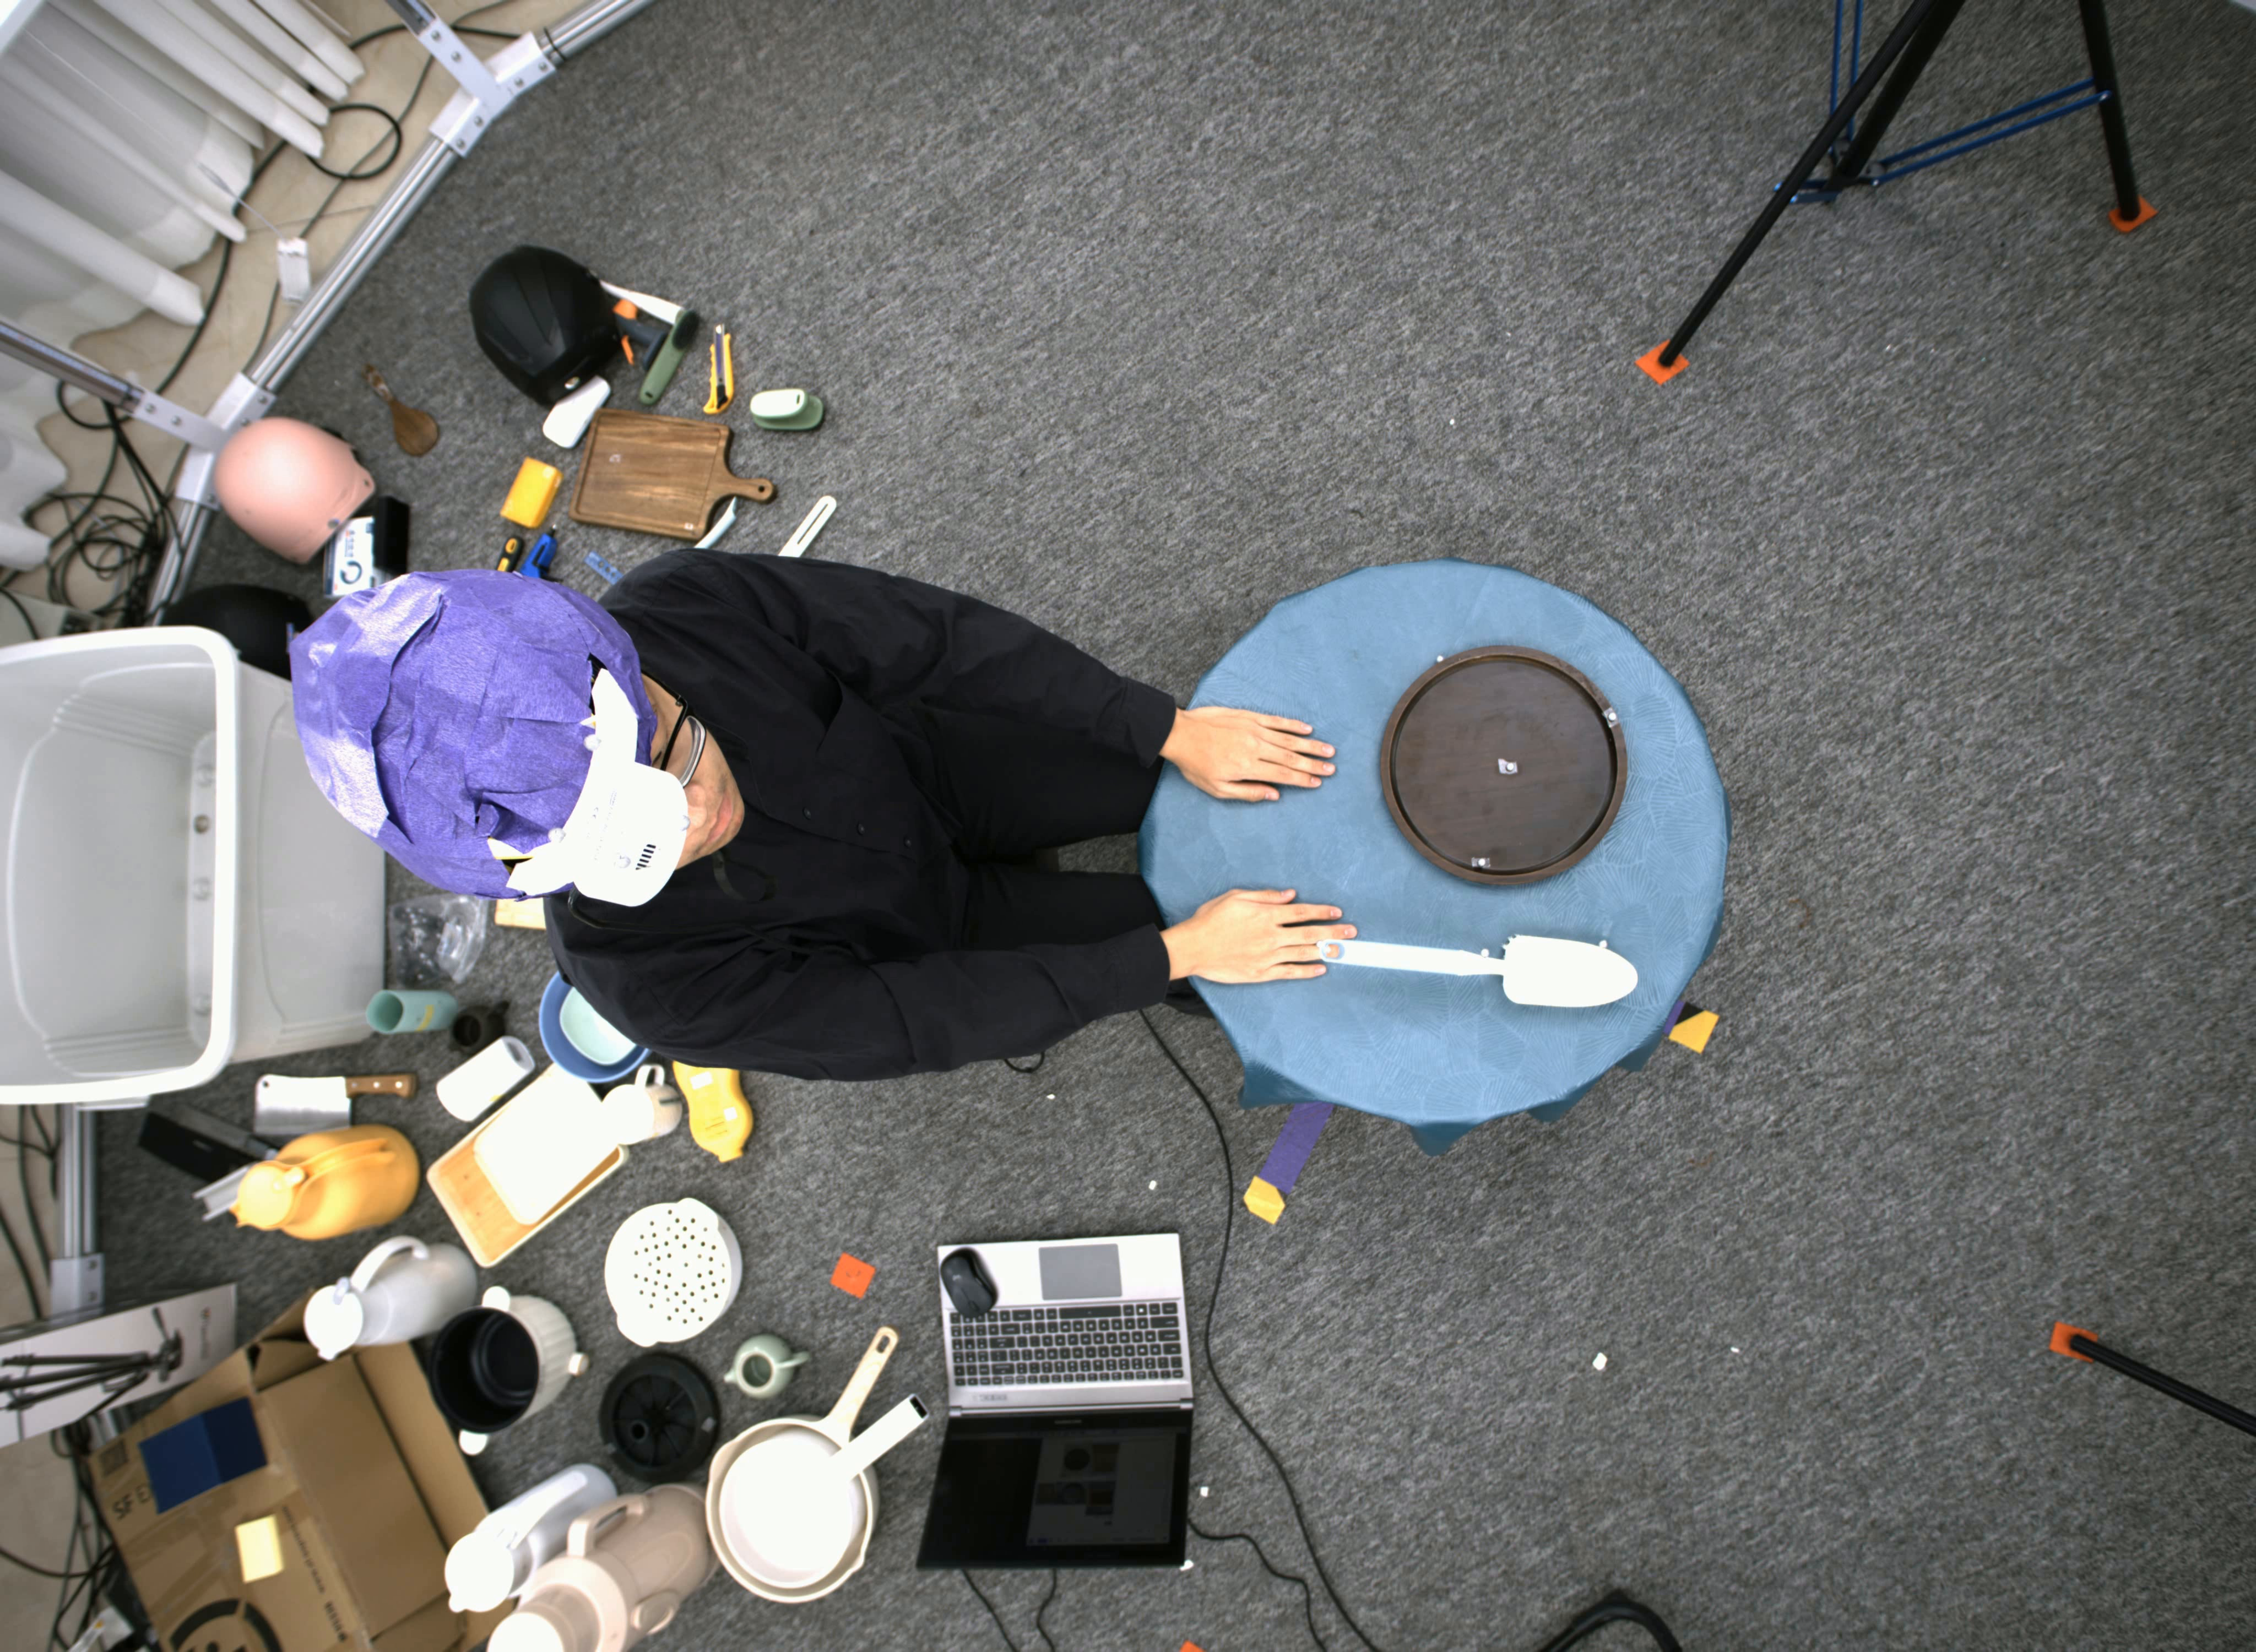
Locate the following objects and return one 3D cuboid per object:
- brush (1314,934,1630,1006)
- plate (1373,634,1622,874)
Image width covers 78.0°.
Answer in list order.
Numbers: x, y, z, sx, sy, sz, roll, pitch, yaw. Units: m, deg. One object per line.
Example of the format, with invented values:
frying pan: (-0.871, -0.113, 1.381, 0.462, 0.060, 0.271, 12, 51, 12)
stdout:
brush: (0.345, 0.134, 1.400, 0.326, 0.087, 0.081, 6, 49, -1)
plate: (0.384, -0.078, 1.432, 0.256, 0.029, 0.254, 0, 89, 9)
